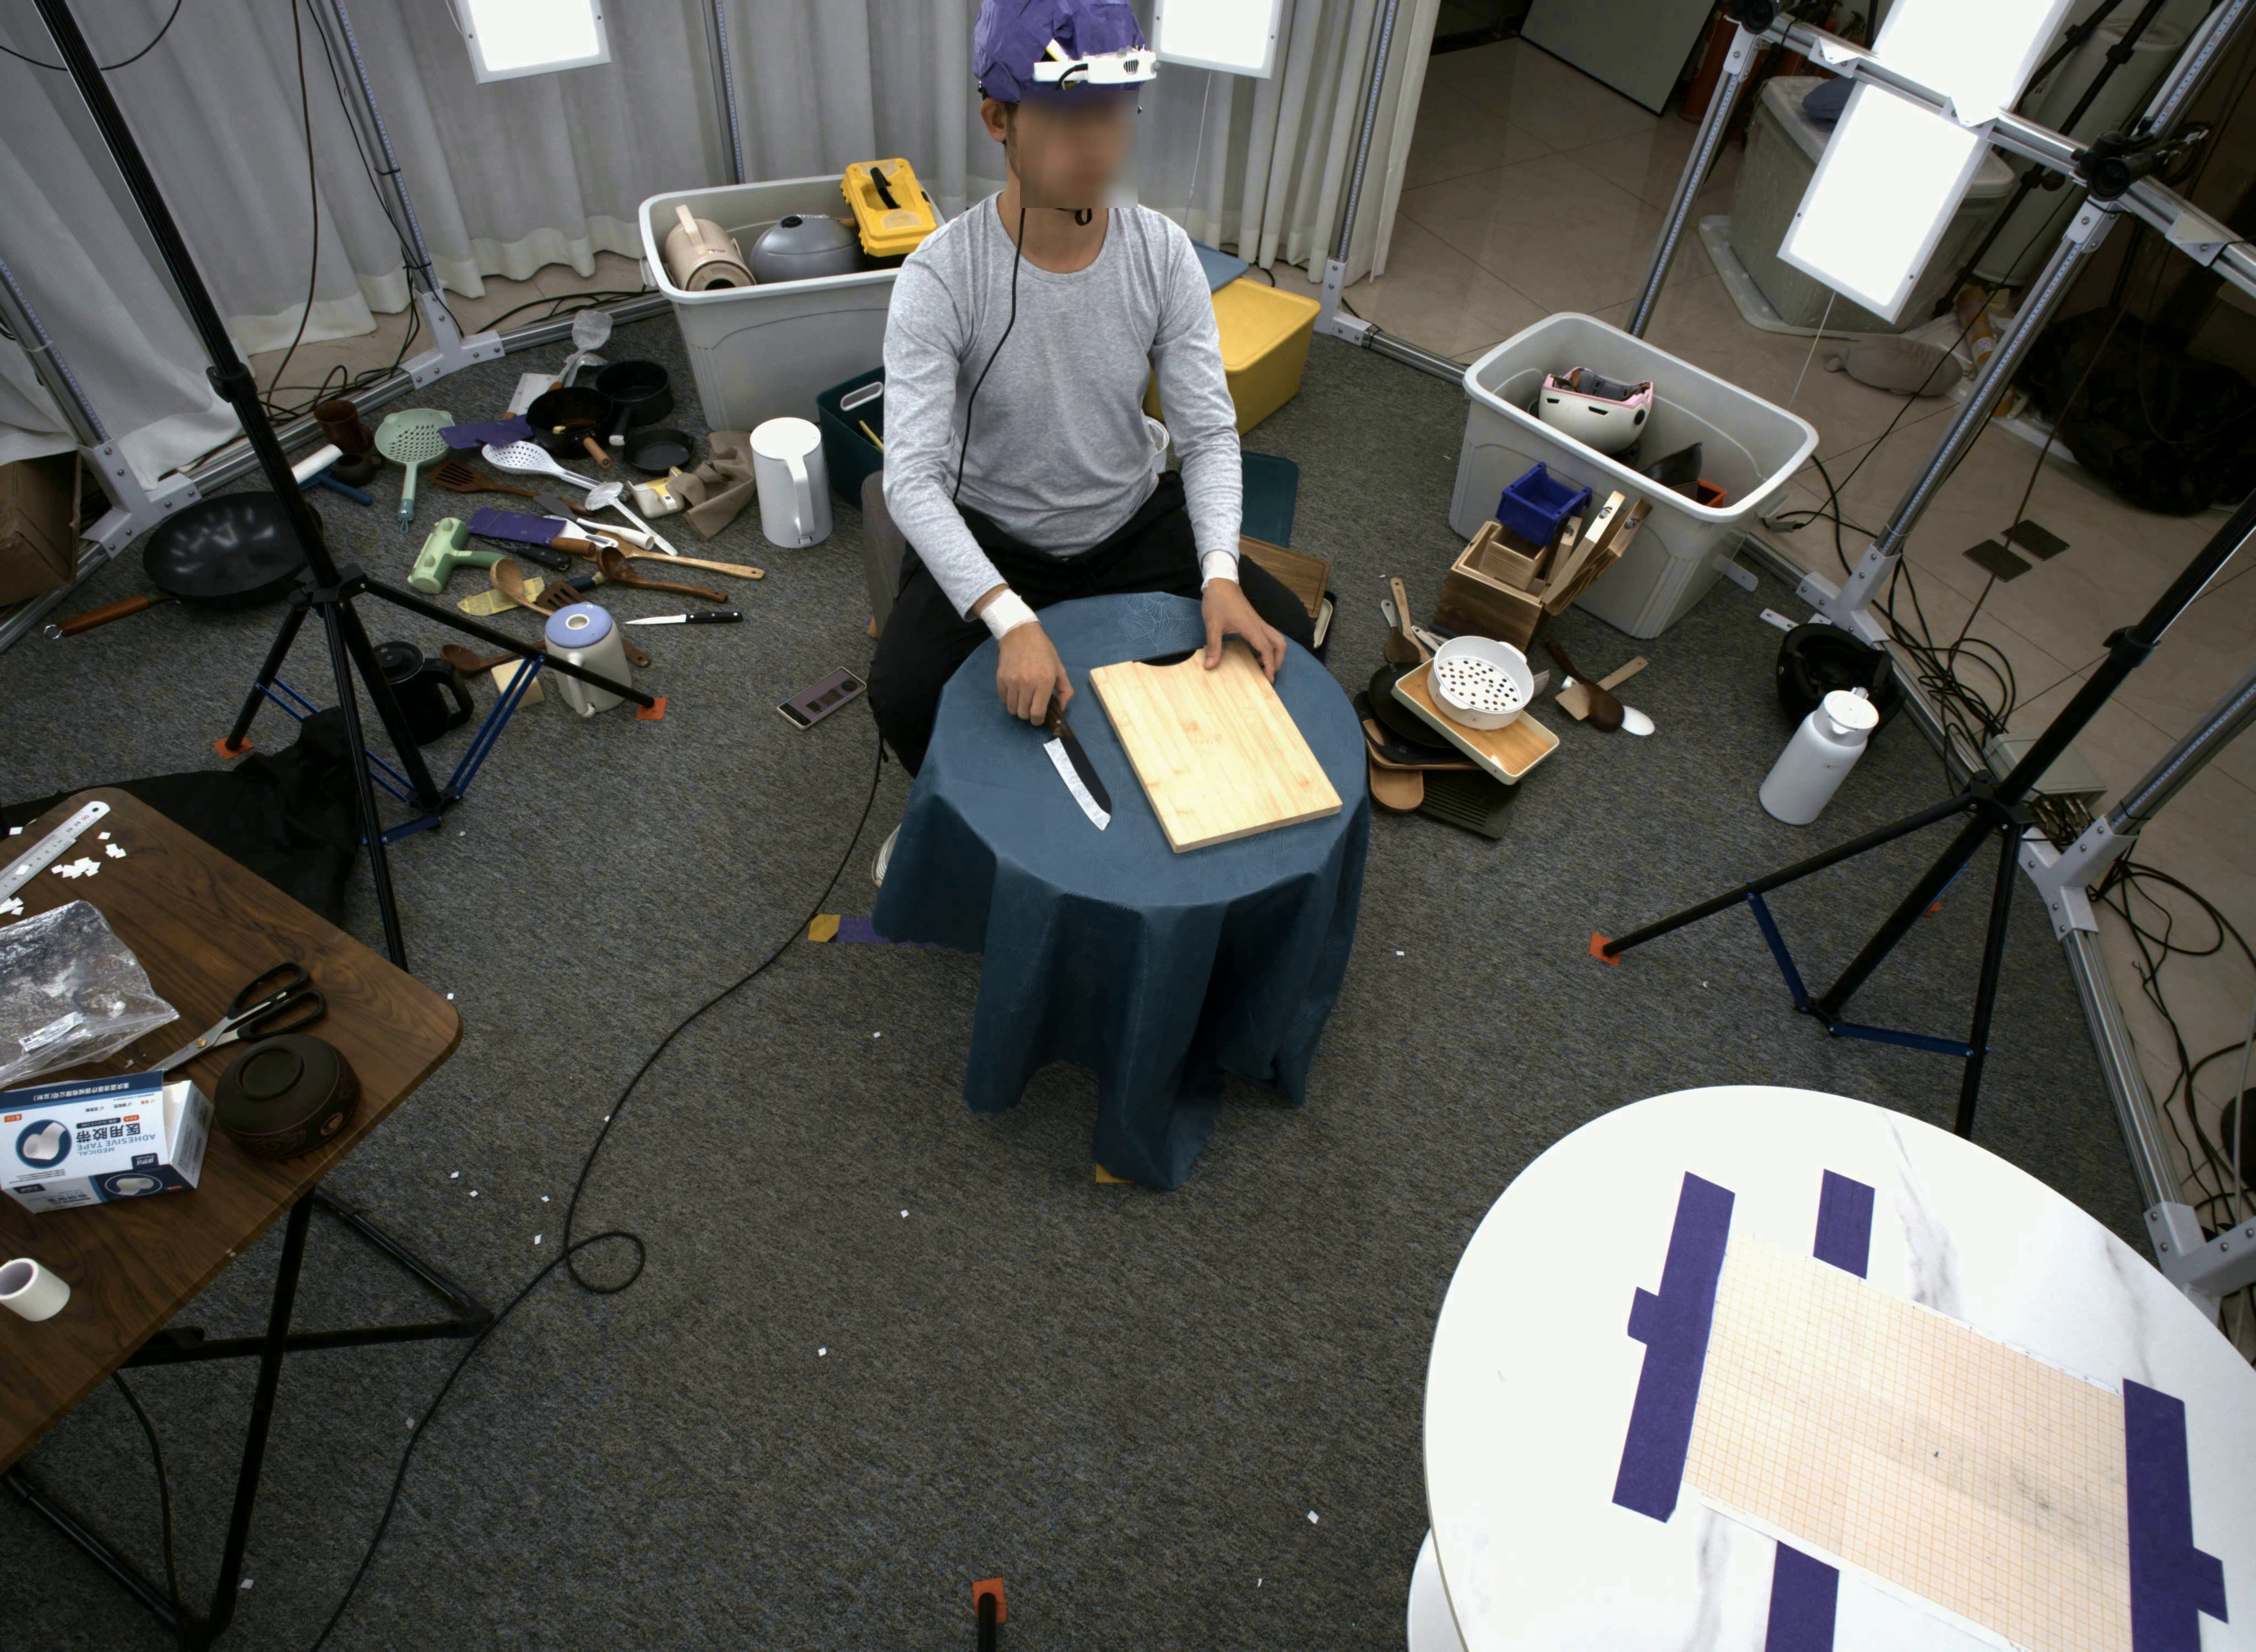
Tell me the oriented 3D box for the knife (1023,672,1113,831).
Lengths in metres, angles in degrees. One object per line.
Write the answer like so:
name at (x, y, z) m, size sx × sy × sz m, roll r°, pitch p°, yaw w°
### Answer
knife at (-0.084, -0.104, 1.741) m, size 0.050 × 0.019 × 0.296 m, roll -22°, pitch 56°, yaw -7°

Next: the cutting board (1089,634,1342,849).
cutting board at (0.113, -0.125, 1.773) m, size 0.251 × 0.023 × 0.357 m, roll -14°, pitch 51°, yaw -16°
